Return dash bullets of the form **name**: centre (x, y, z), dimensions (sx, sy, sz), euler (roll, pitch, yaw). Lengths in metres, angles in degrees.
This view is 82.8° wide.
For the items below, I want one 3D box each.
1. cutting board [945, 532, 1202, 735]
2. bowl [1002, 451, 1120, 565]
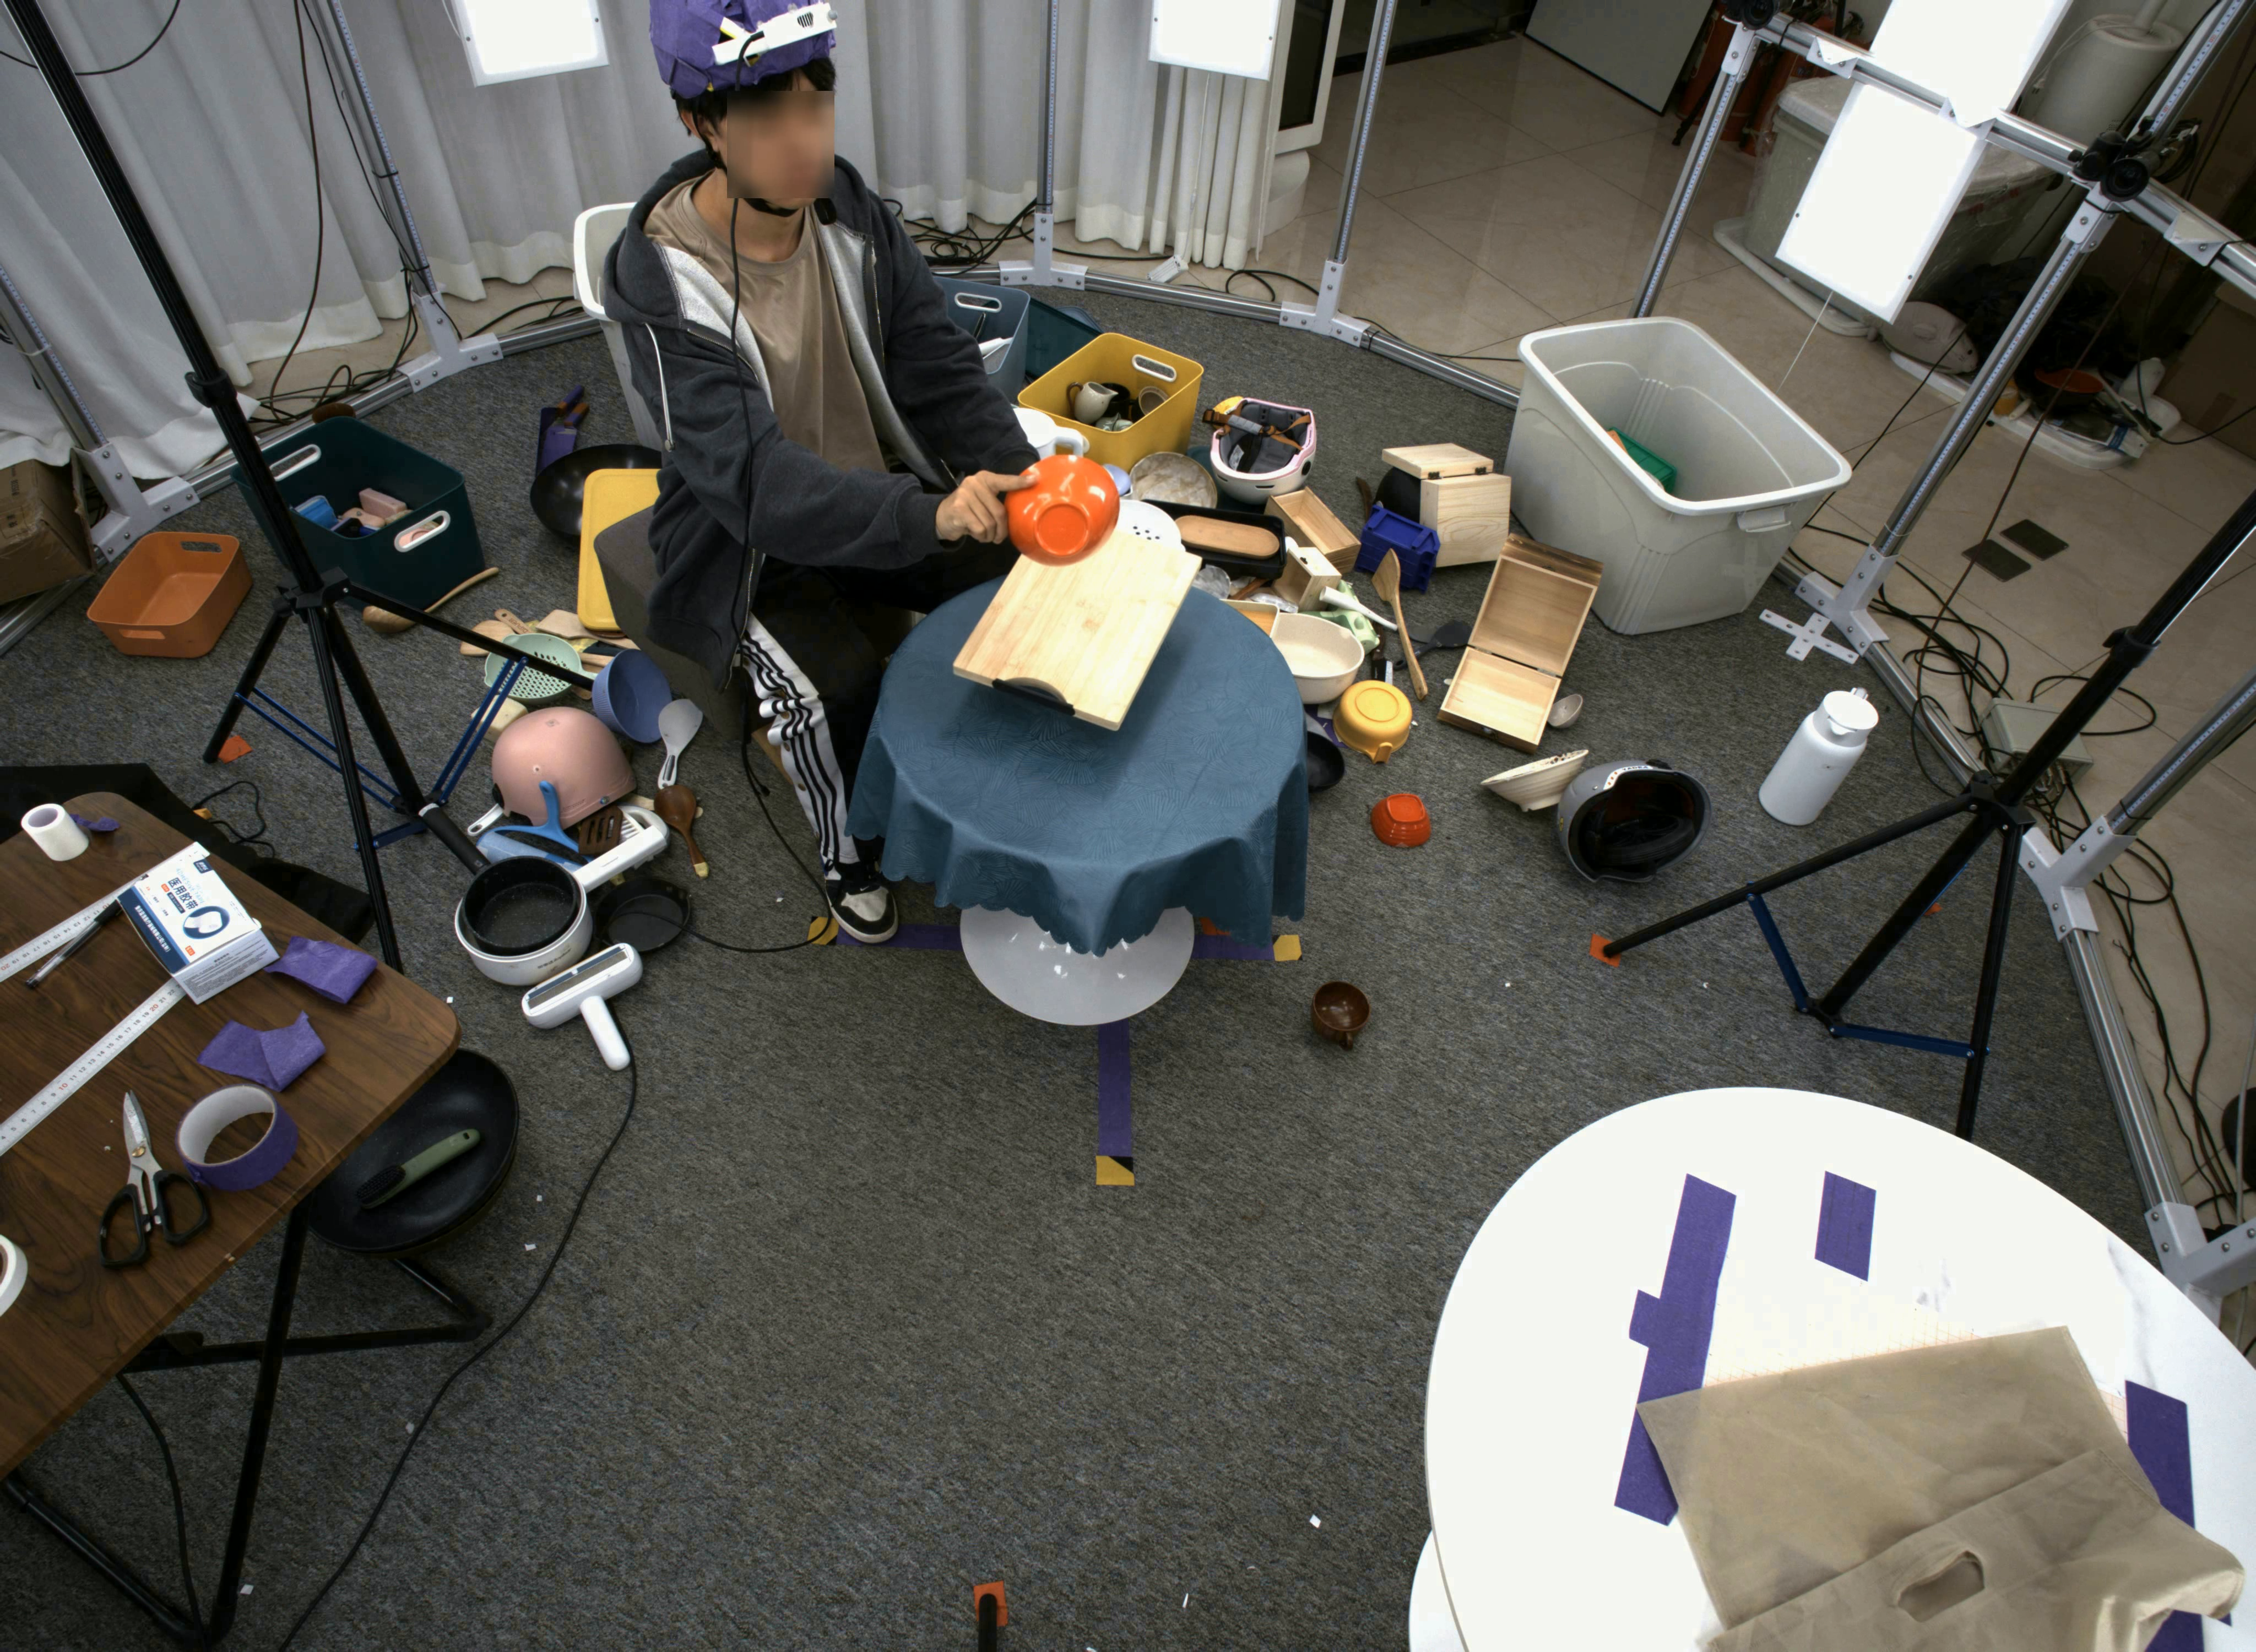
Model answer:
- **cutting board**: centre (-0.067, -0.292, 1.794), dimensions (0.251, 0.023, 0.355), euler (19, 55, 9)
- **bowl**: centre (-0.077, -0.371, 1.557), dimensions (0.148, 0.145, 0.107), euler (-1, 30, -6)
